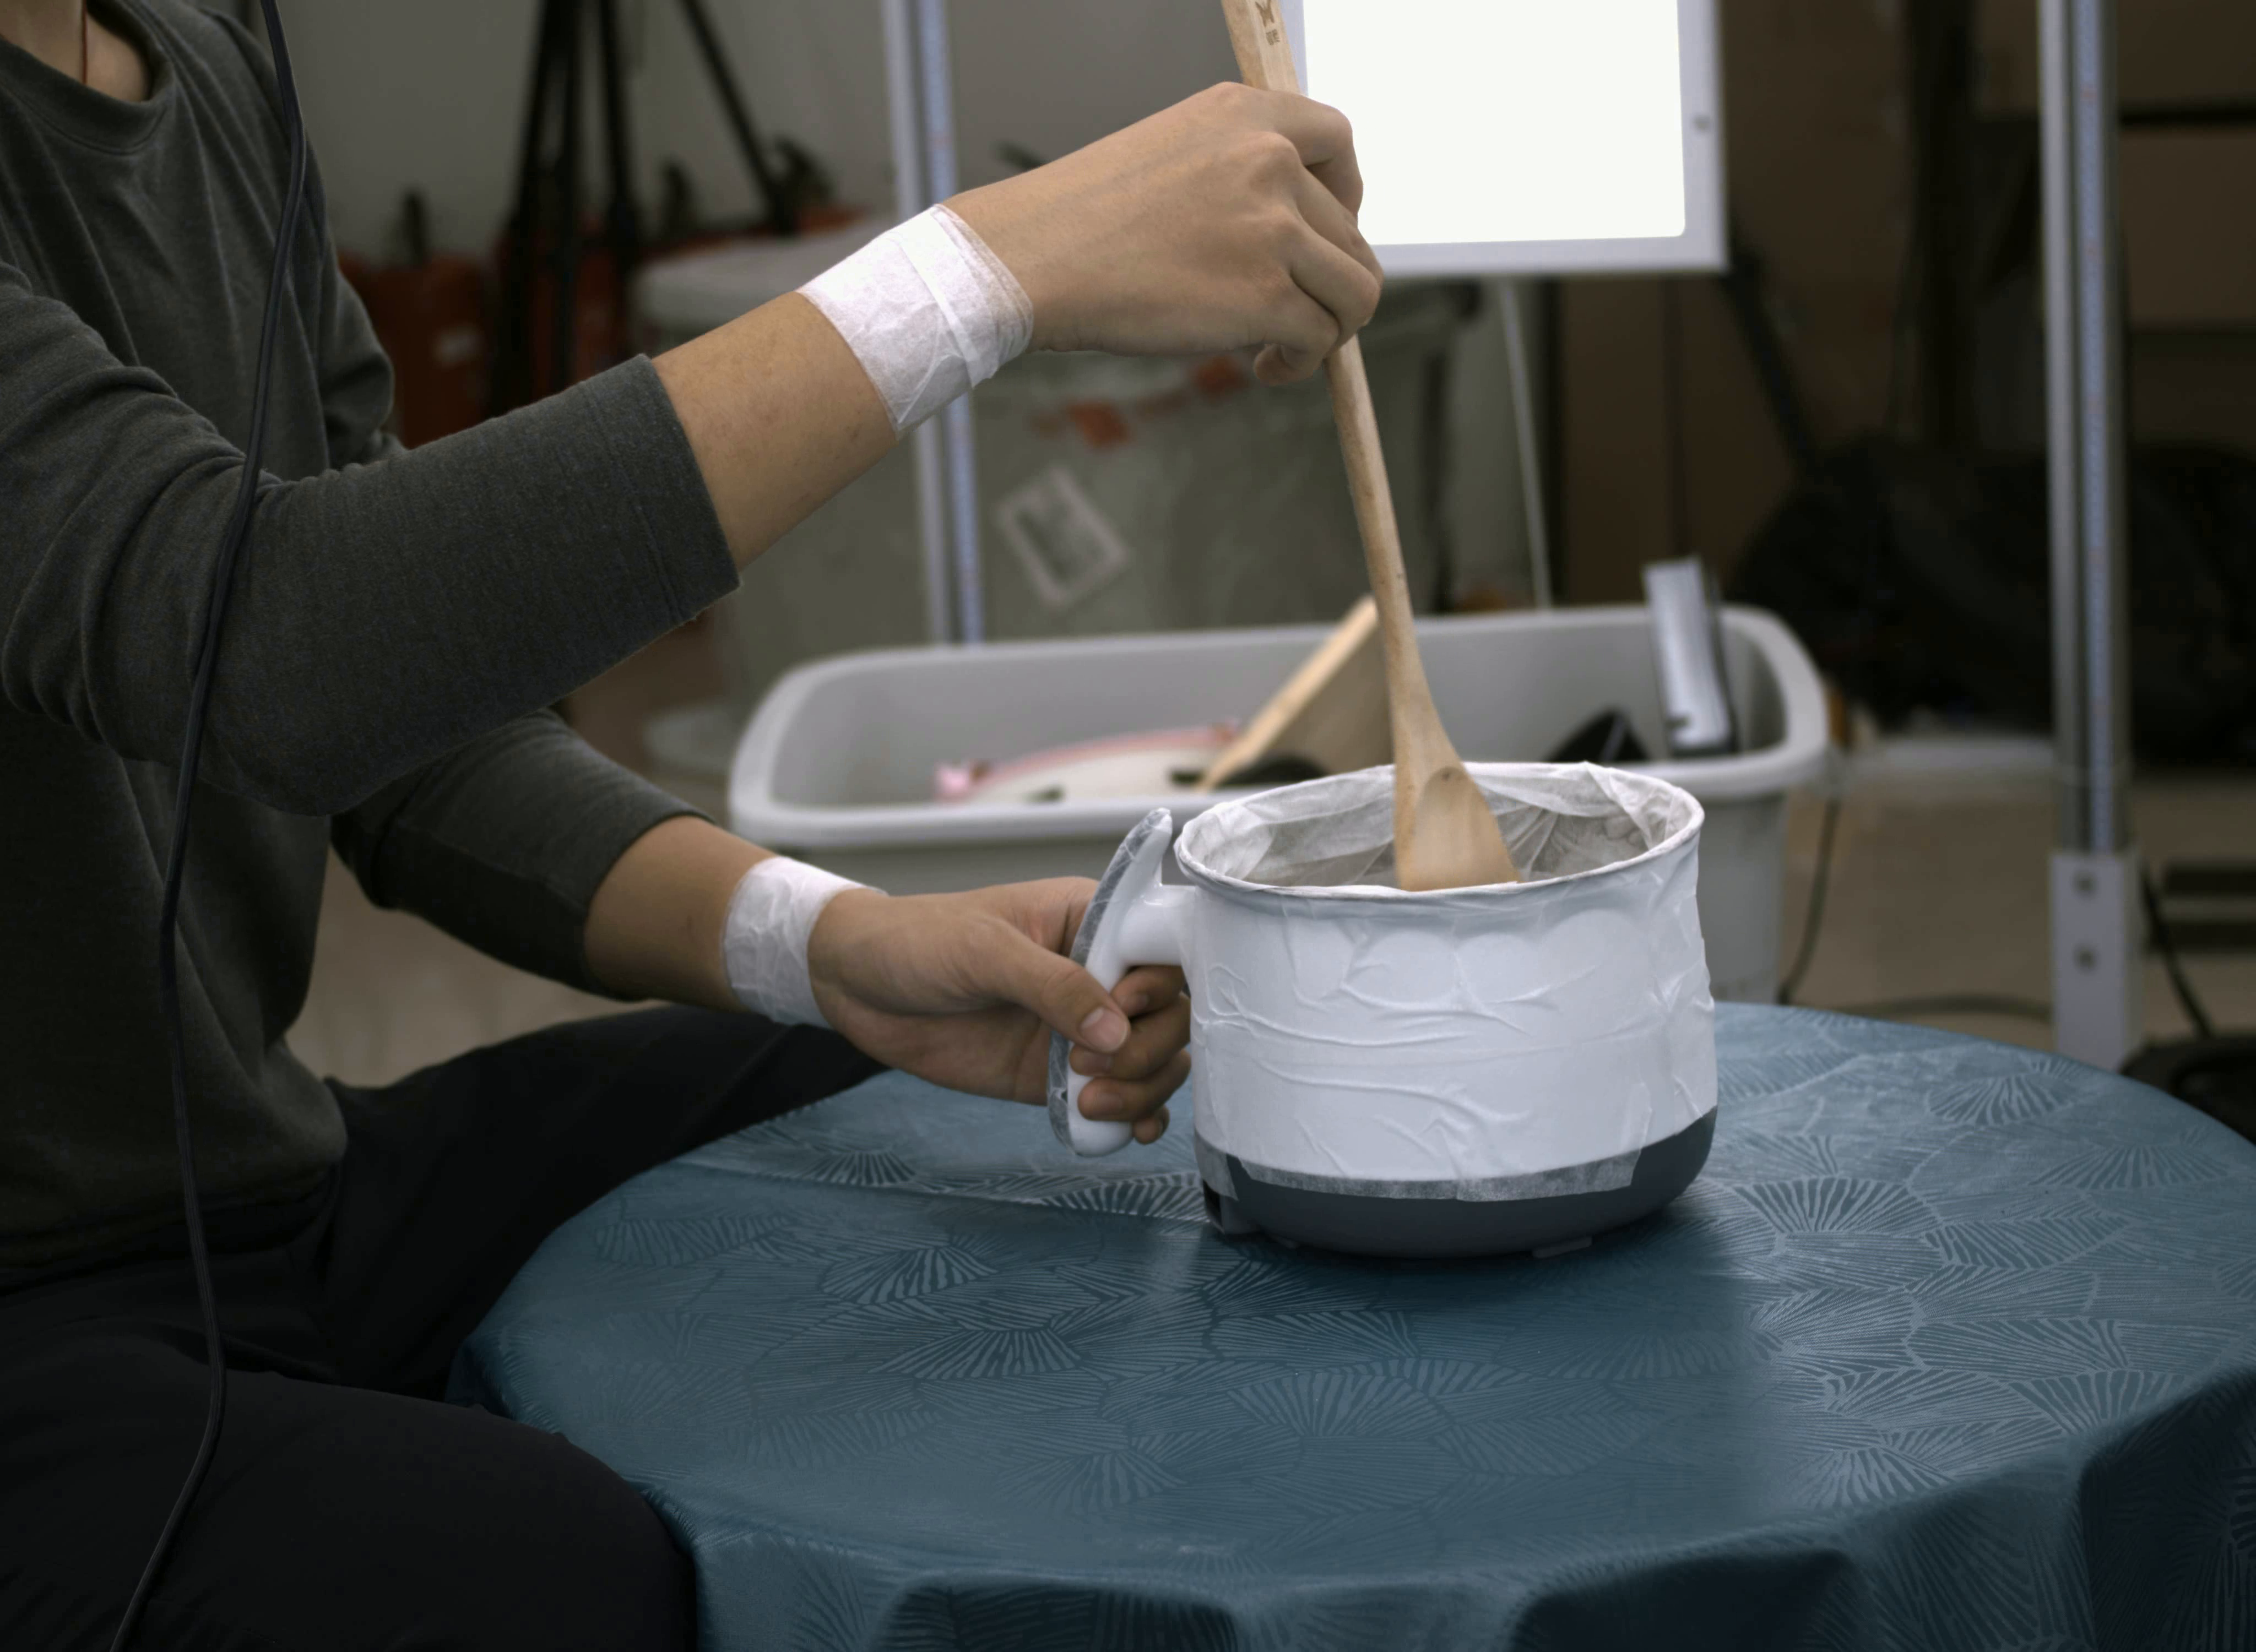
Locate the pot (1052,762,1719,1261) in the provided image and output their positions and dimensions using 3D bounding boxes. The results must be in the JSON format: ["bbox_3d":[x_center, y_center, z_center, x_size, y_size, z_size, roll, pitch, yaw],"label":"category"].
[{"bbox_3d":[0.083,0.062,1.853,0.237,0.137,0.175,0,15,21],"label":"pot"}]

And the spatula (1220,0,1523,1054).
[{"bbox_3d":[0.077,-0.113,1.771,0.019,0.391,0.094,-9,13,21],"label":"spatula"}]
